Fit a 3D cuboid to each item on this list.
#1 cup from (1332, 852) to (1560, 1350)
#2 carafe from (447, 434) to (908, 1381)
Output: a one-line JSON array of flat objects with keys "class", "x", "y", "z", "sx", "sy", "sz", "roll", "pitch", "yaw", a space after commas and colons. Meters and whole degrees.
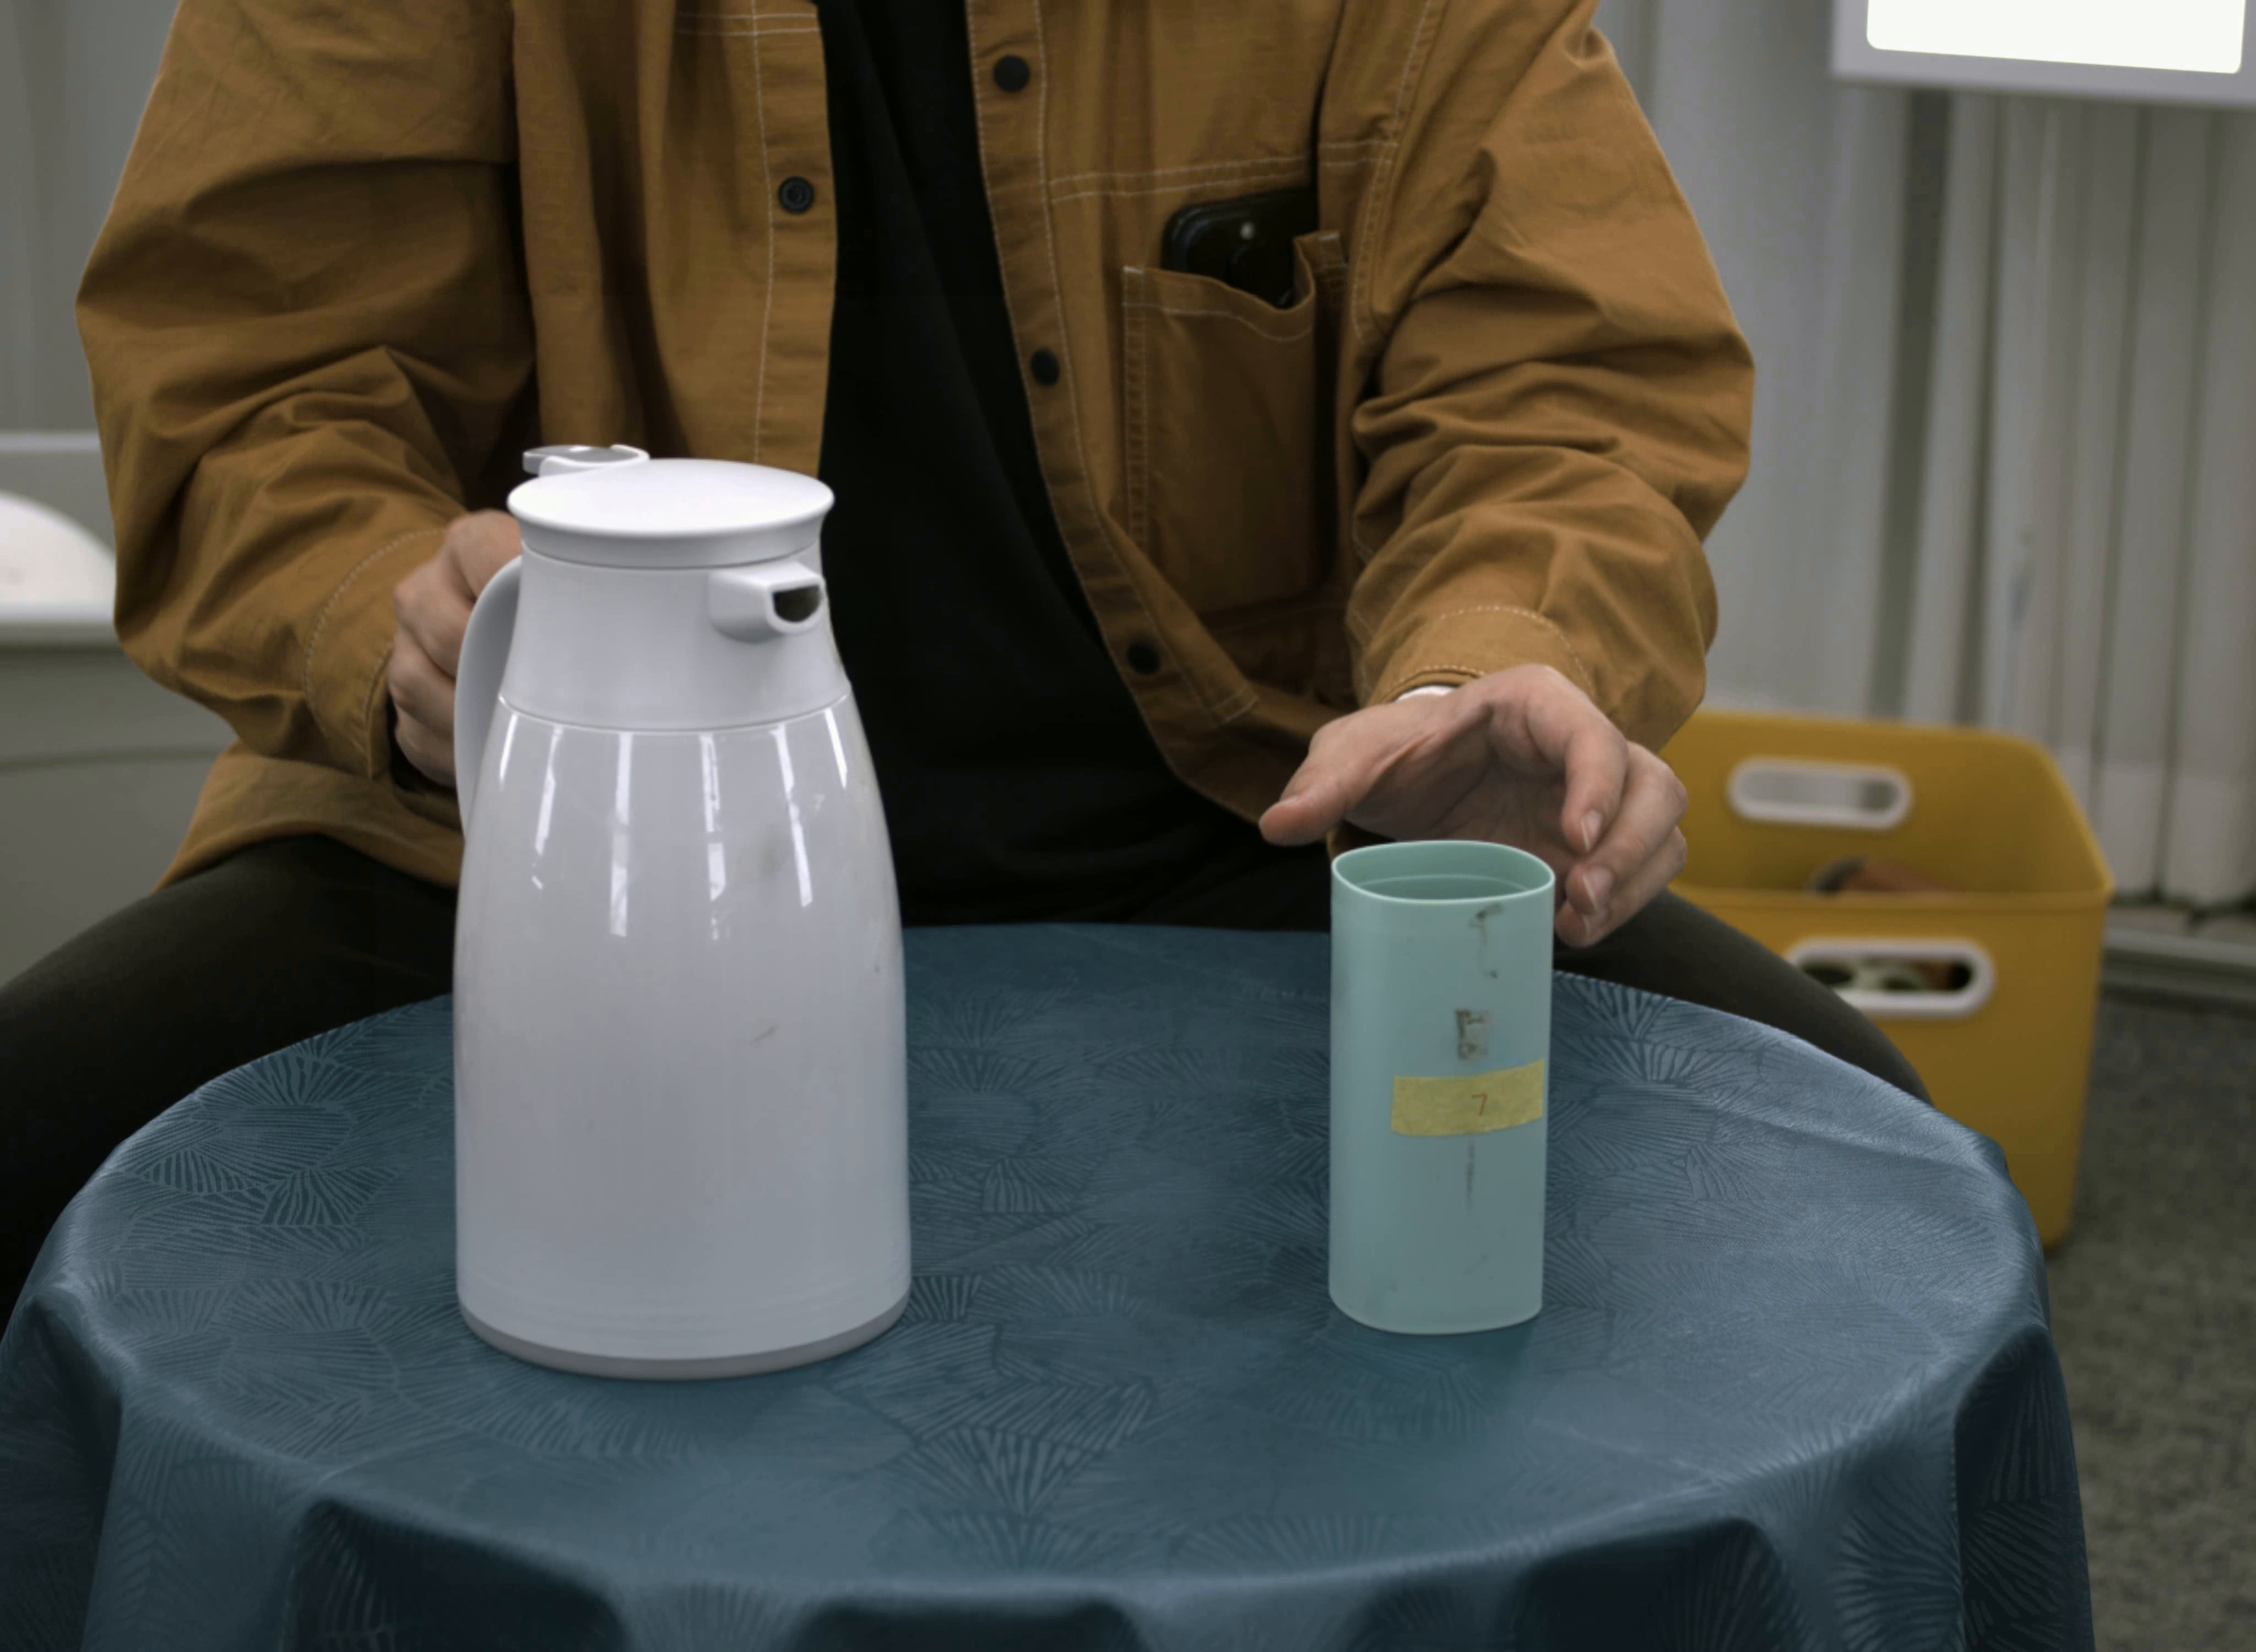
[{"class": "cup", "x": 0.090, "y": 0.078, "z": 1.517, "sx": 0.066, "sy": 0.133, "sz": 0.066, "roll": 1, "pitch": 16, "yaw": 0}, {"class": "carafe", "x": -0.142, "y": 0.015, "z": 1.505, "sx": 0.133, "sy": 0.250, "sz": 0.165, "roll": -13, "pitch": 20, "yaw": -38}]
